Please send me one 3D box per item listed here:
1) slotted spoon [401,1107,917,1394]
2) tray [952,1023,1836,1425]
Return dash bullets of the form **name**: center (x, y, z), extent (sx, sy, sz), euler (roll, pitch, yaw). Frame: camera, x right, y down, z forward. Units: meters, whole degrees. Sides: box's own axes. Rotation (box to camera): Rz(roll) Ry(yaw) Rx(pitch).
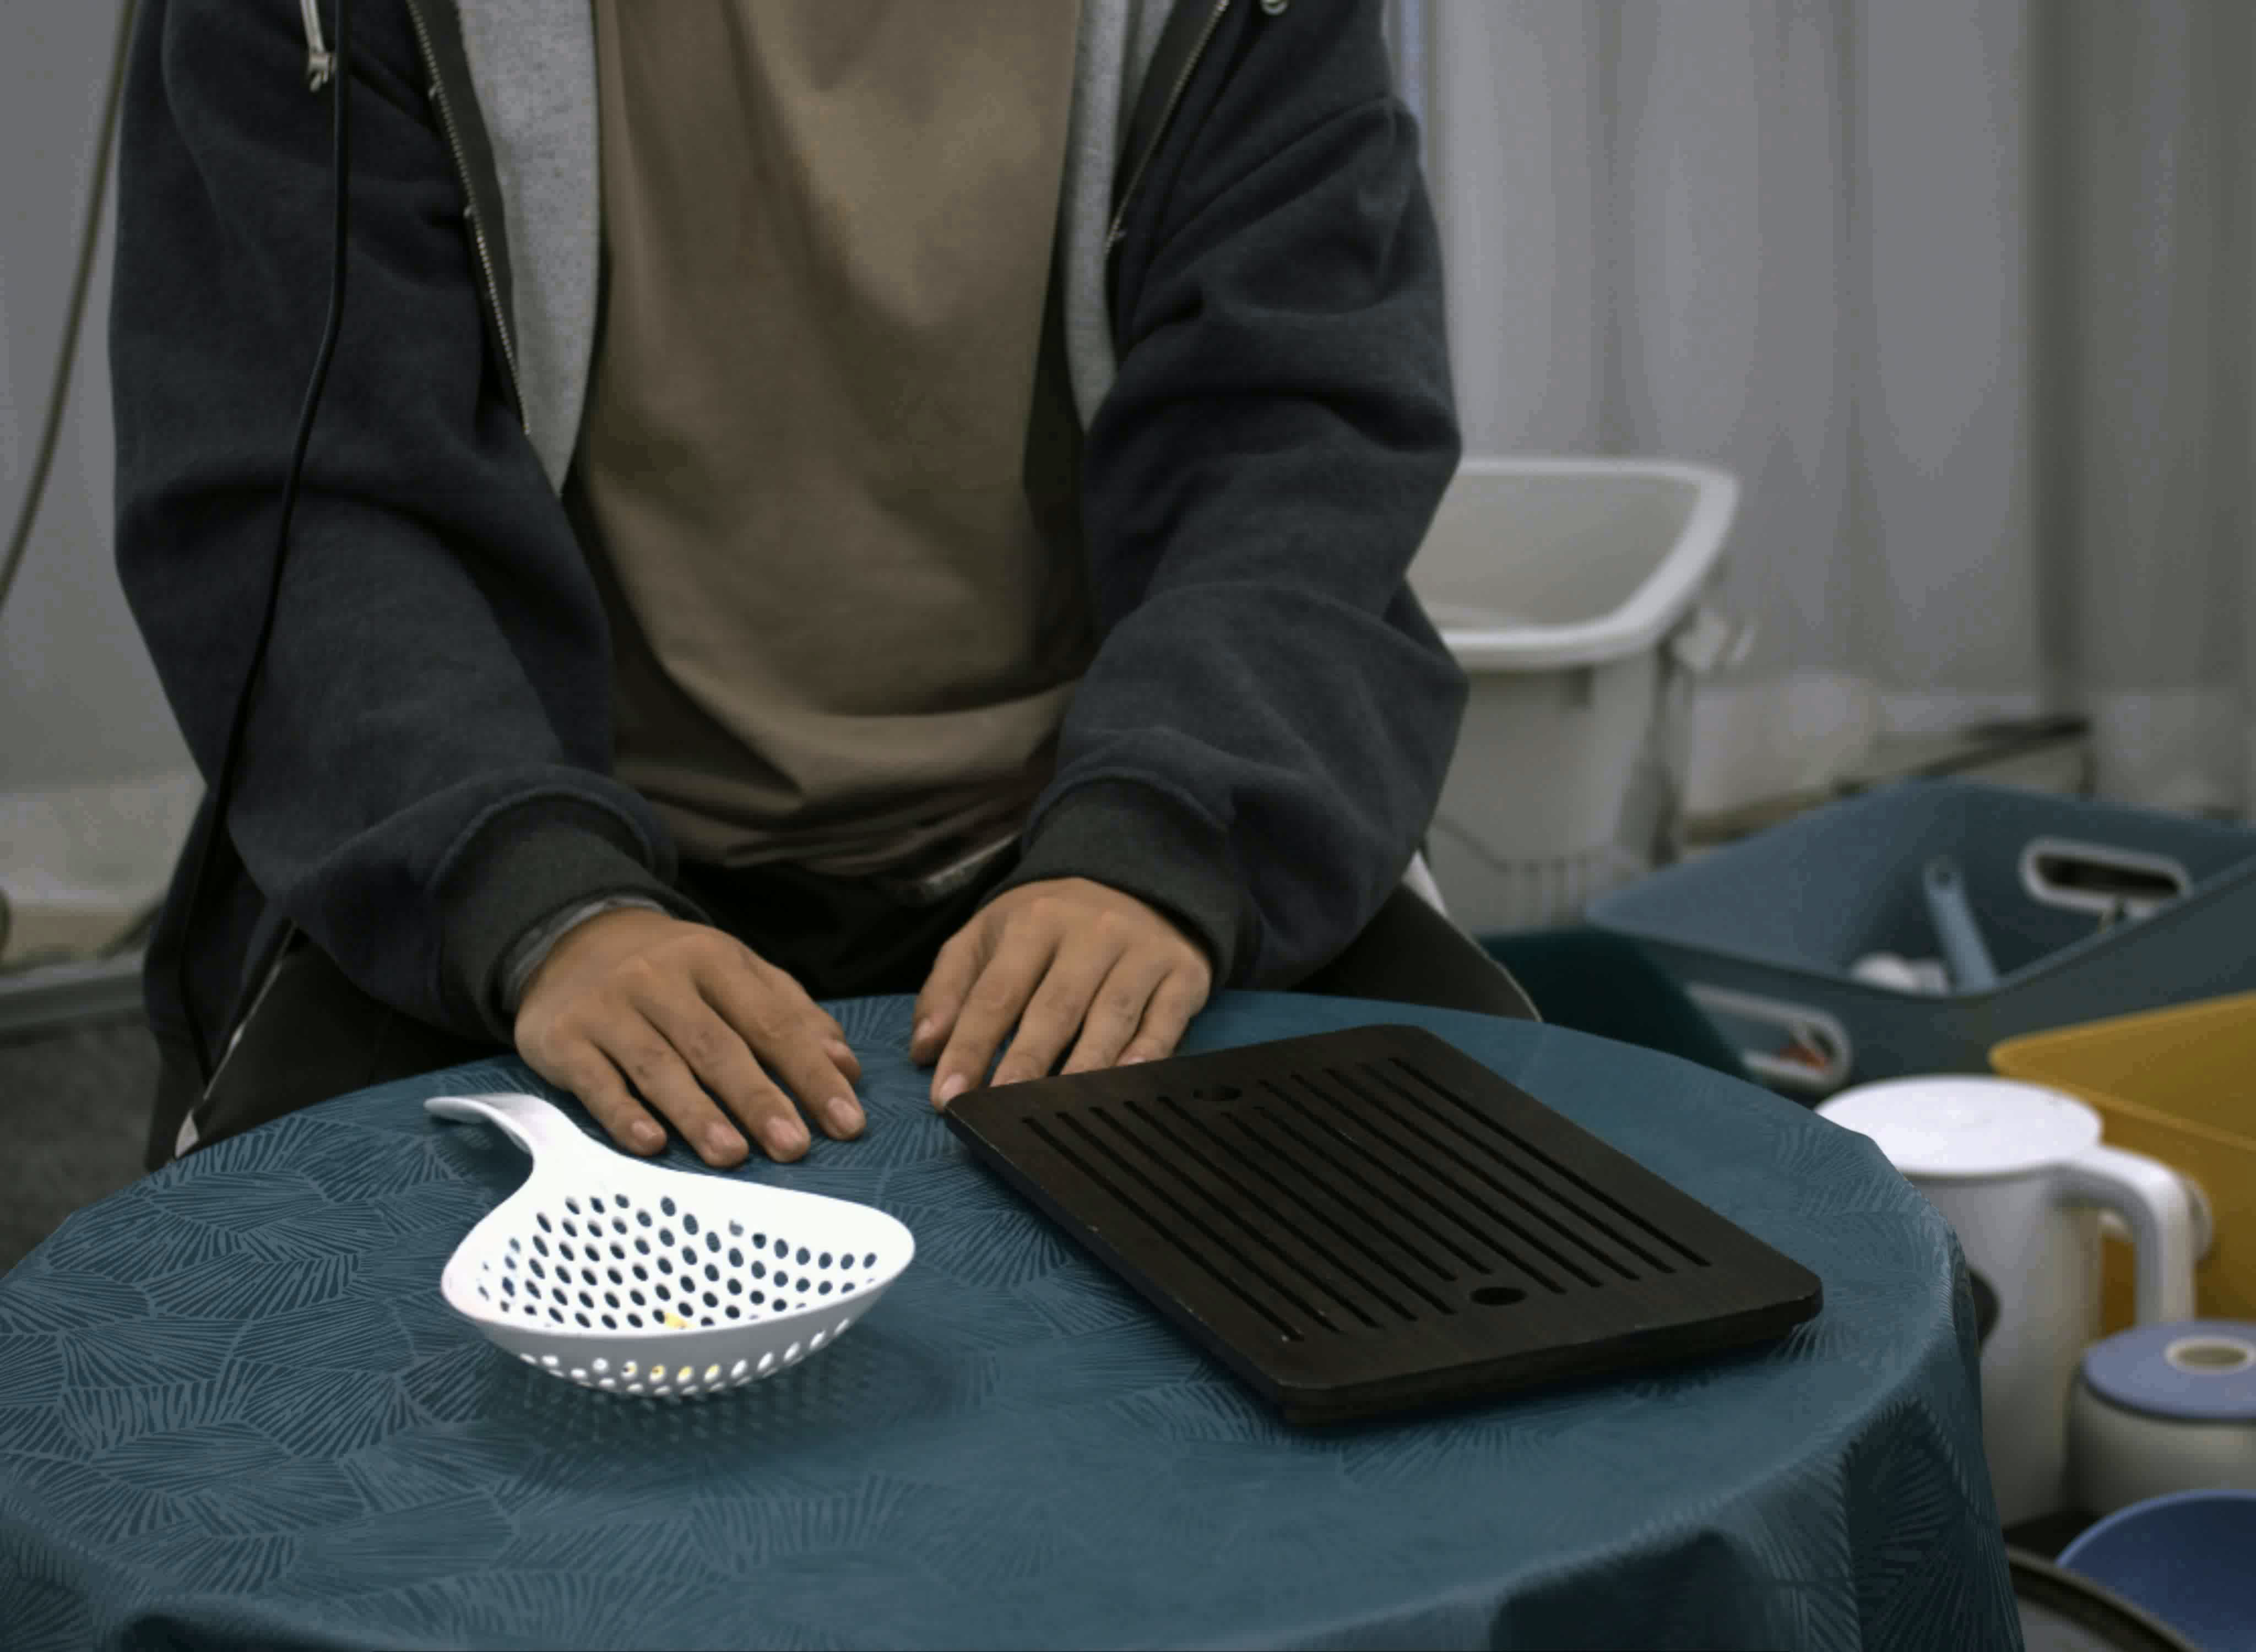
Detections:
- **slotted spoon**: center (-0.167, 0.115, 1.667), extent (0.136, 0.050, 0.351), euler (-10, 17, -19)
- **tray**: center (0.073, 0.117, 1.659), extent (0.169, 0.018, 0.308), euler (-8, 16, -19)
